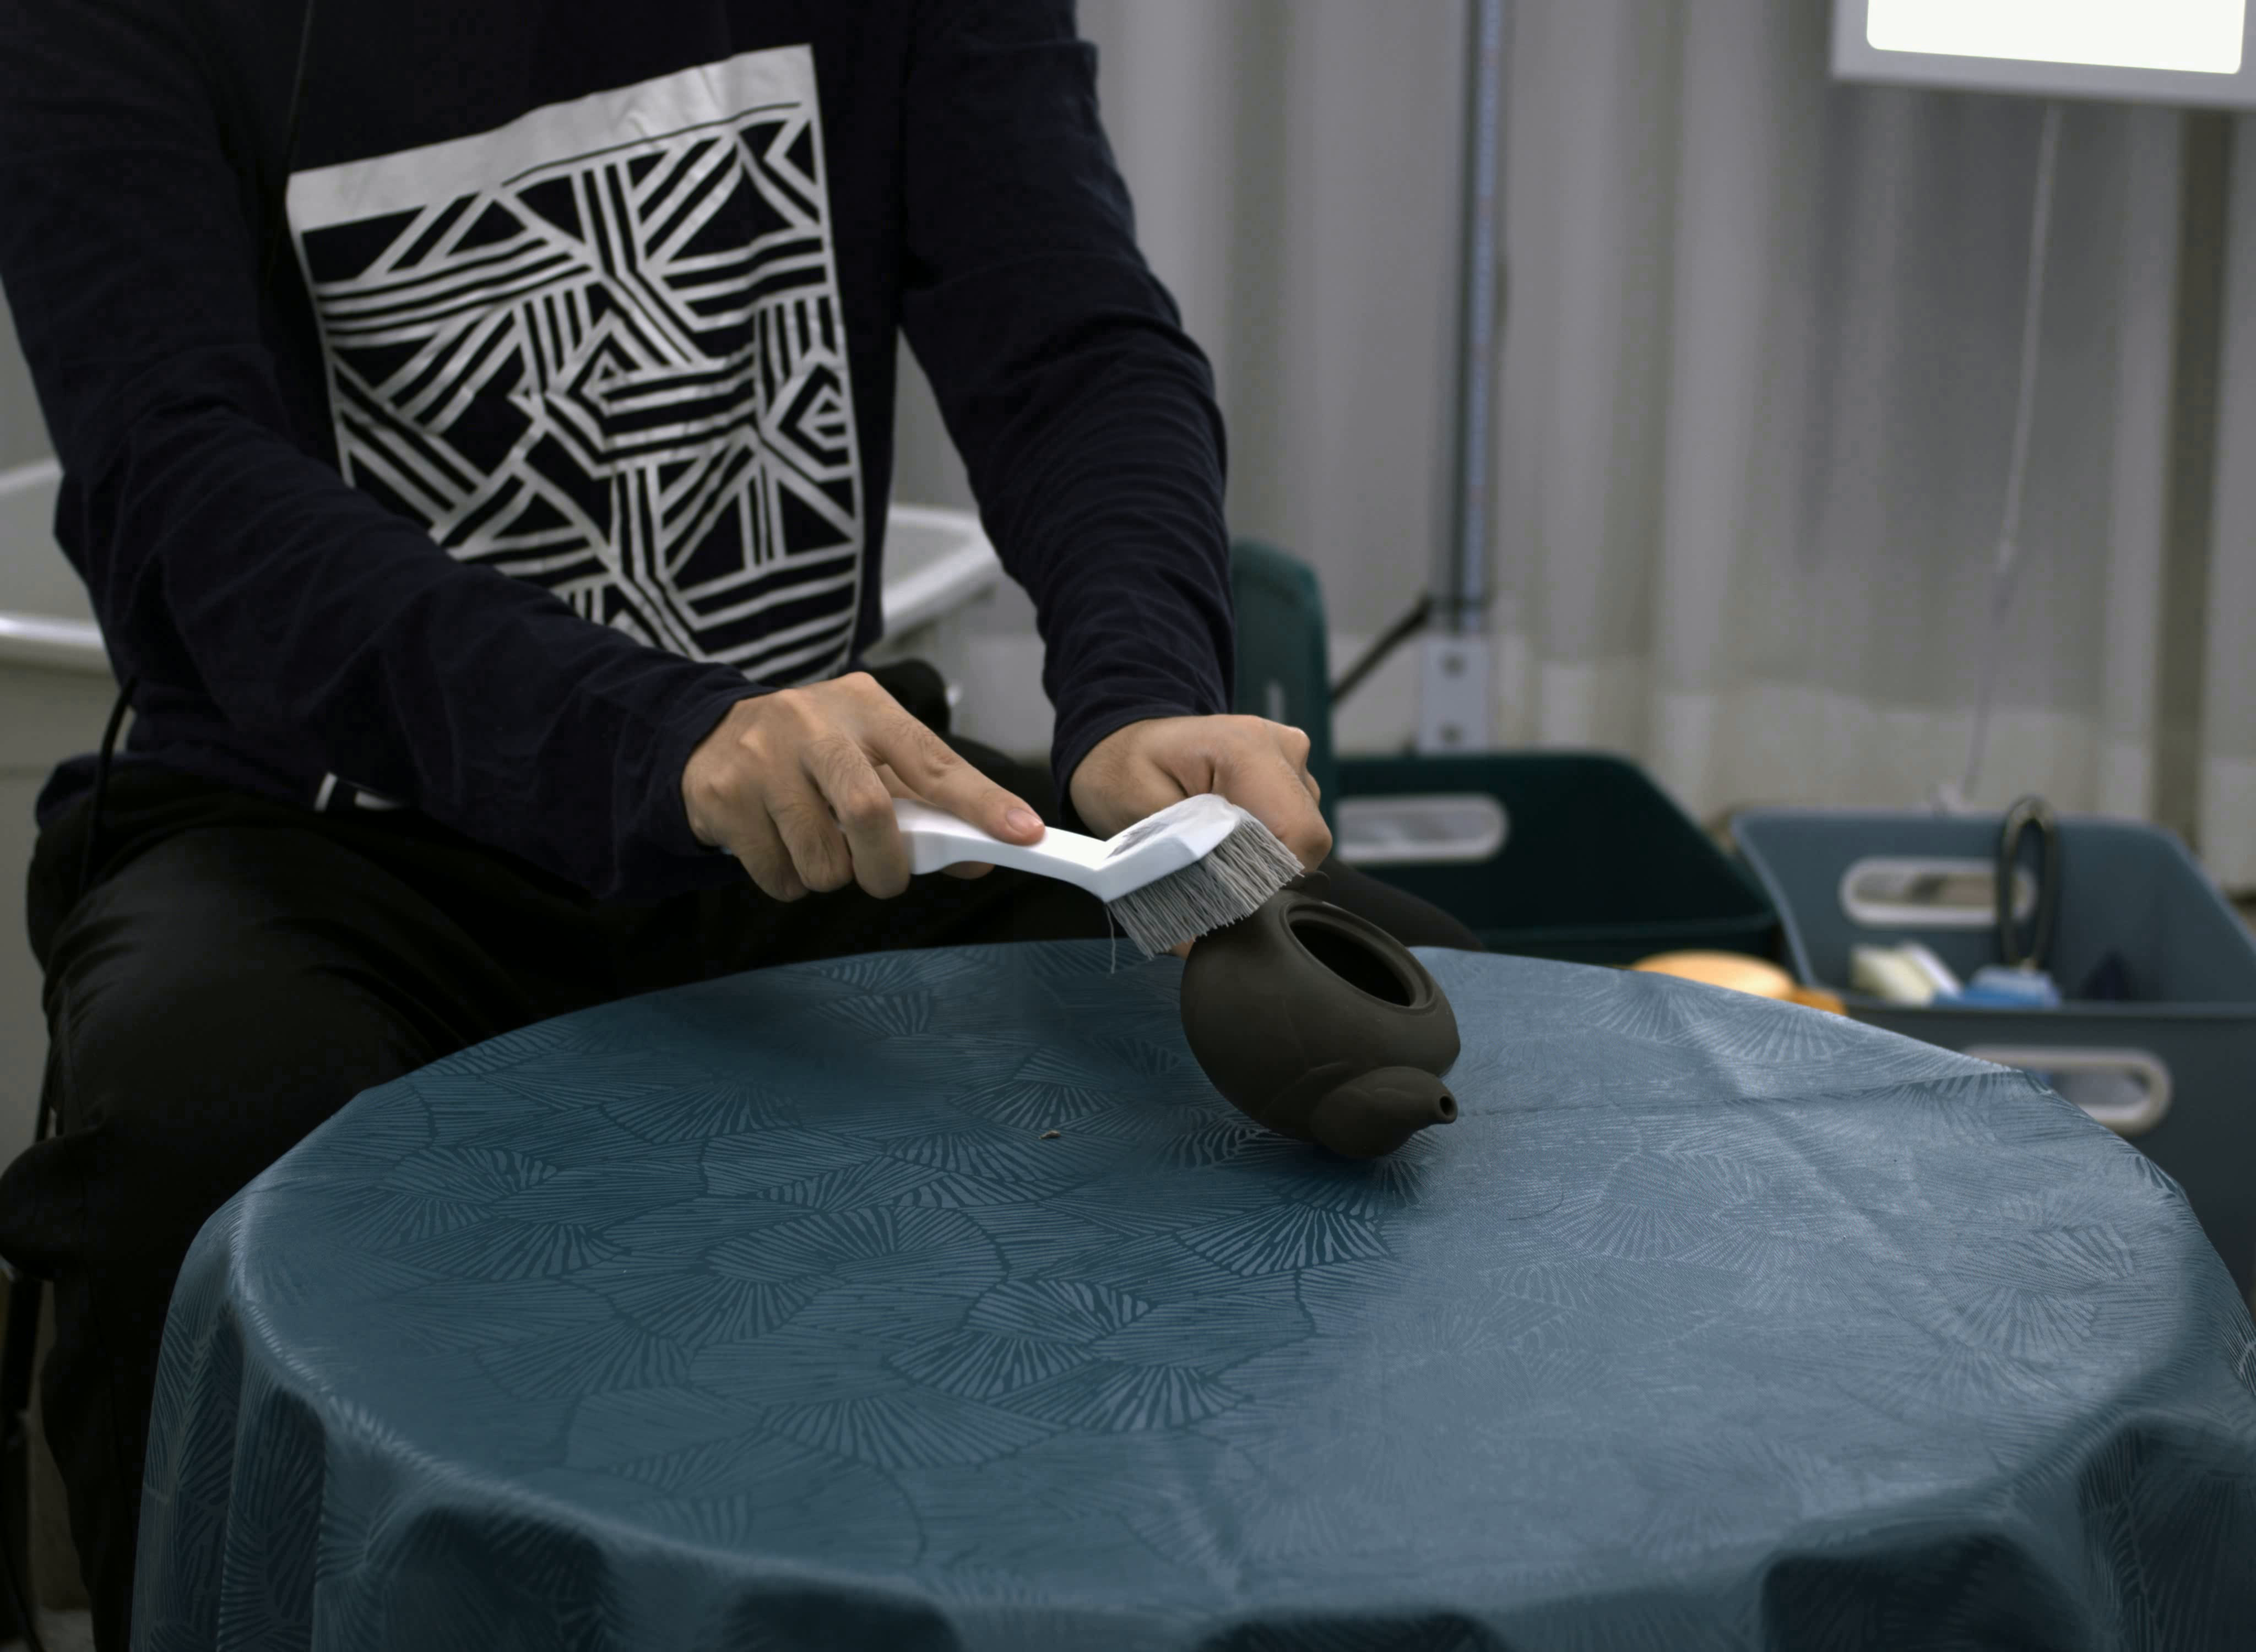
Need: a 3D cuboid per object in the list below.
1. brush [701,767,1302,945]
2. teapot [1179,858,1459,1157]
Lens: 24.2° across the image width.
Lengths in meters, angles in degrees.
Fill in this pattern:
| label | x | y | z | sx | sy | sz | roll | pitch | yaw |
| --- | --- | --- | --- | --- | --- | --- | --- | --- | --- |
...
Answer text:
| label | x | y | z | sx | sy | sz | roll | pitch | yaw |
| --- | --- | --- | --- | --- | --- | --- | --- | --- | --- |
| brush | -0.043 | 0.015 | 1.703 | 0.241 | 0.051 | 0.034 | -4 | 35 | 42 |
| teapot | 0.058 | 0.059 | 1.672 | 0.093 | 0.064 | 0.152 | 17 | 26 | -36 |
